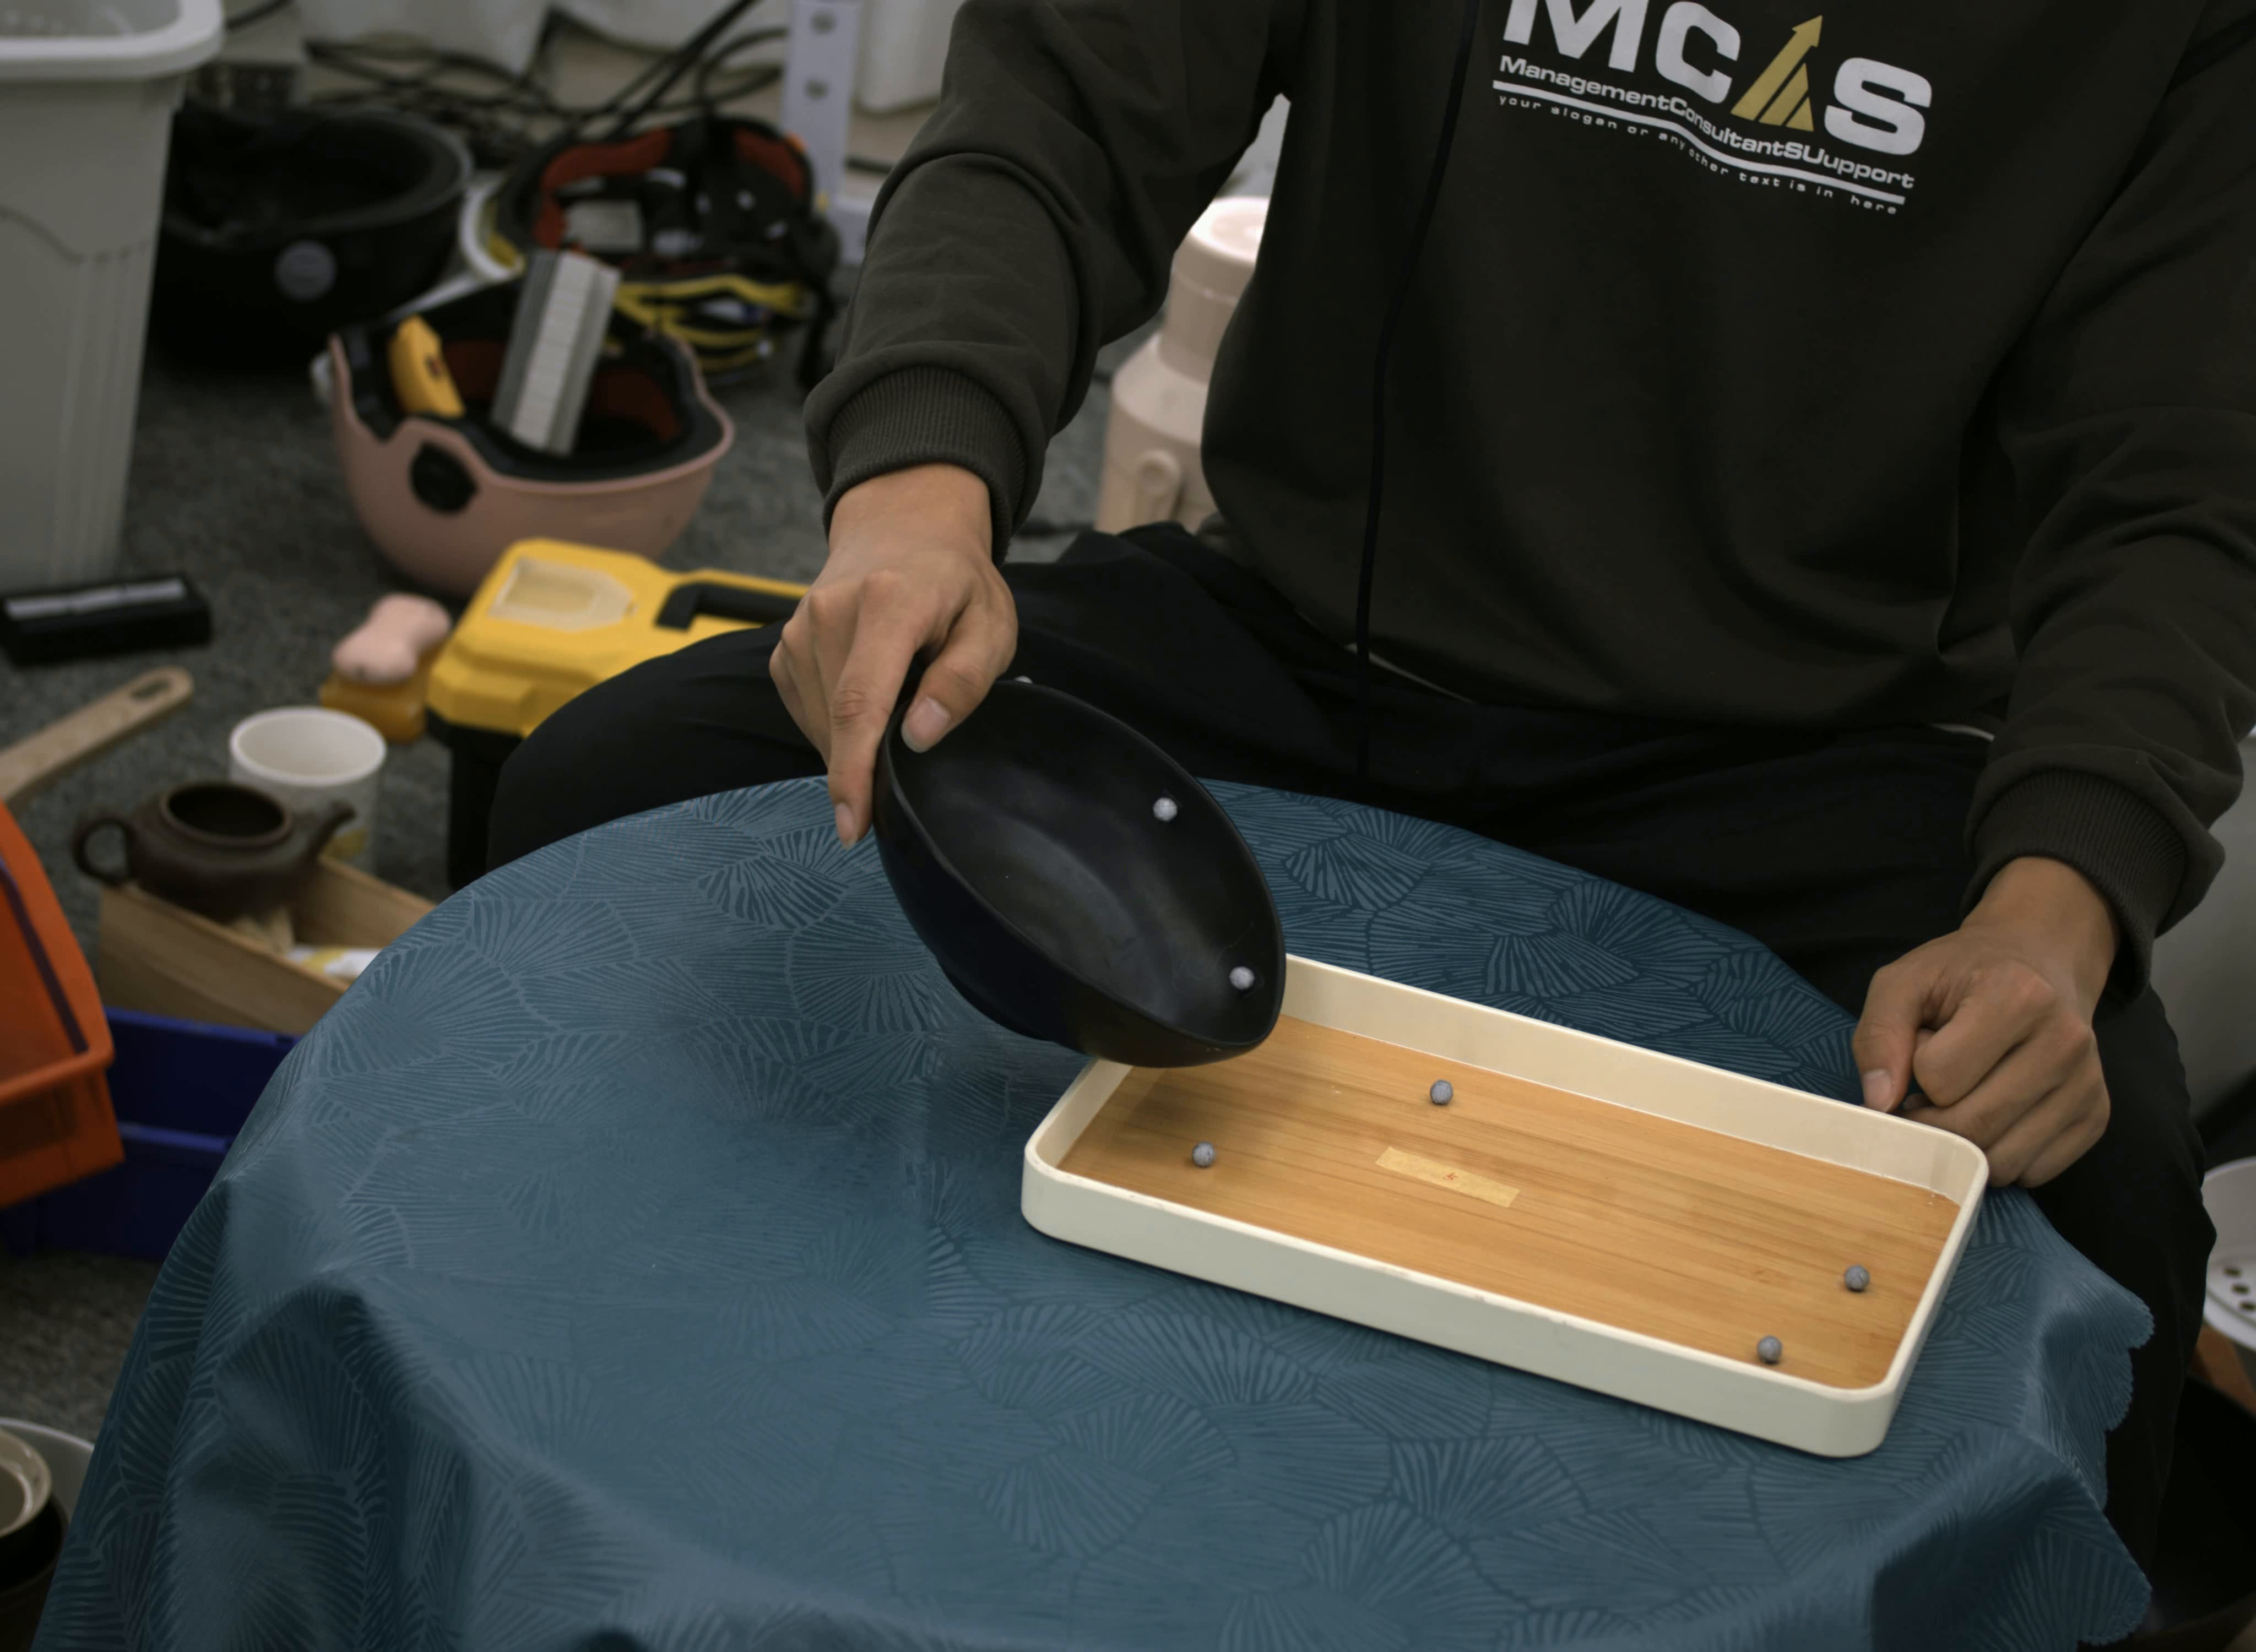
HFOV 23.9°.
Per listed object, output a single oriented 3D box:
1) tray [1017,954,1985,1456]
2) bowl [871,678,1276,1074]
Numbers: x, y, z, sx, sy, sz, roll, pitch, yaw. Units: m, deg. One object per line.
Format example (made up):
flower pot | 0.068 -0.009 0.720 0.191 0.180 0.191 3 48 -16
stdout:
tray | 0.129 0.122 1.810 0.301 0.027 0.192 14 27 15
bowl | -0.026 0.027 1.840 0.170 0.066 0.137 40 37 0
